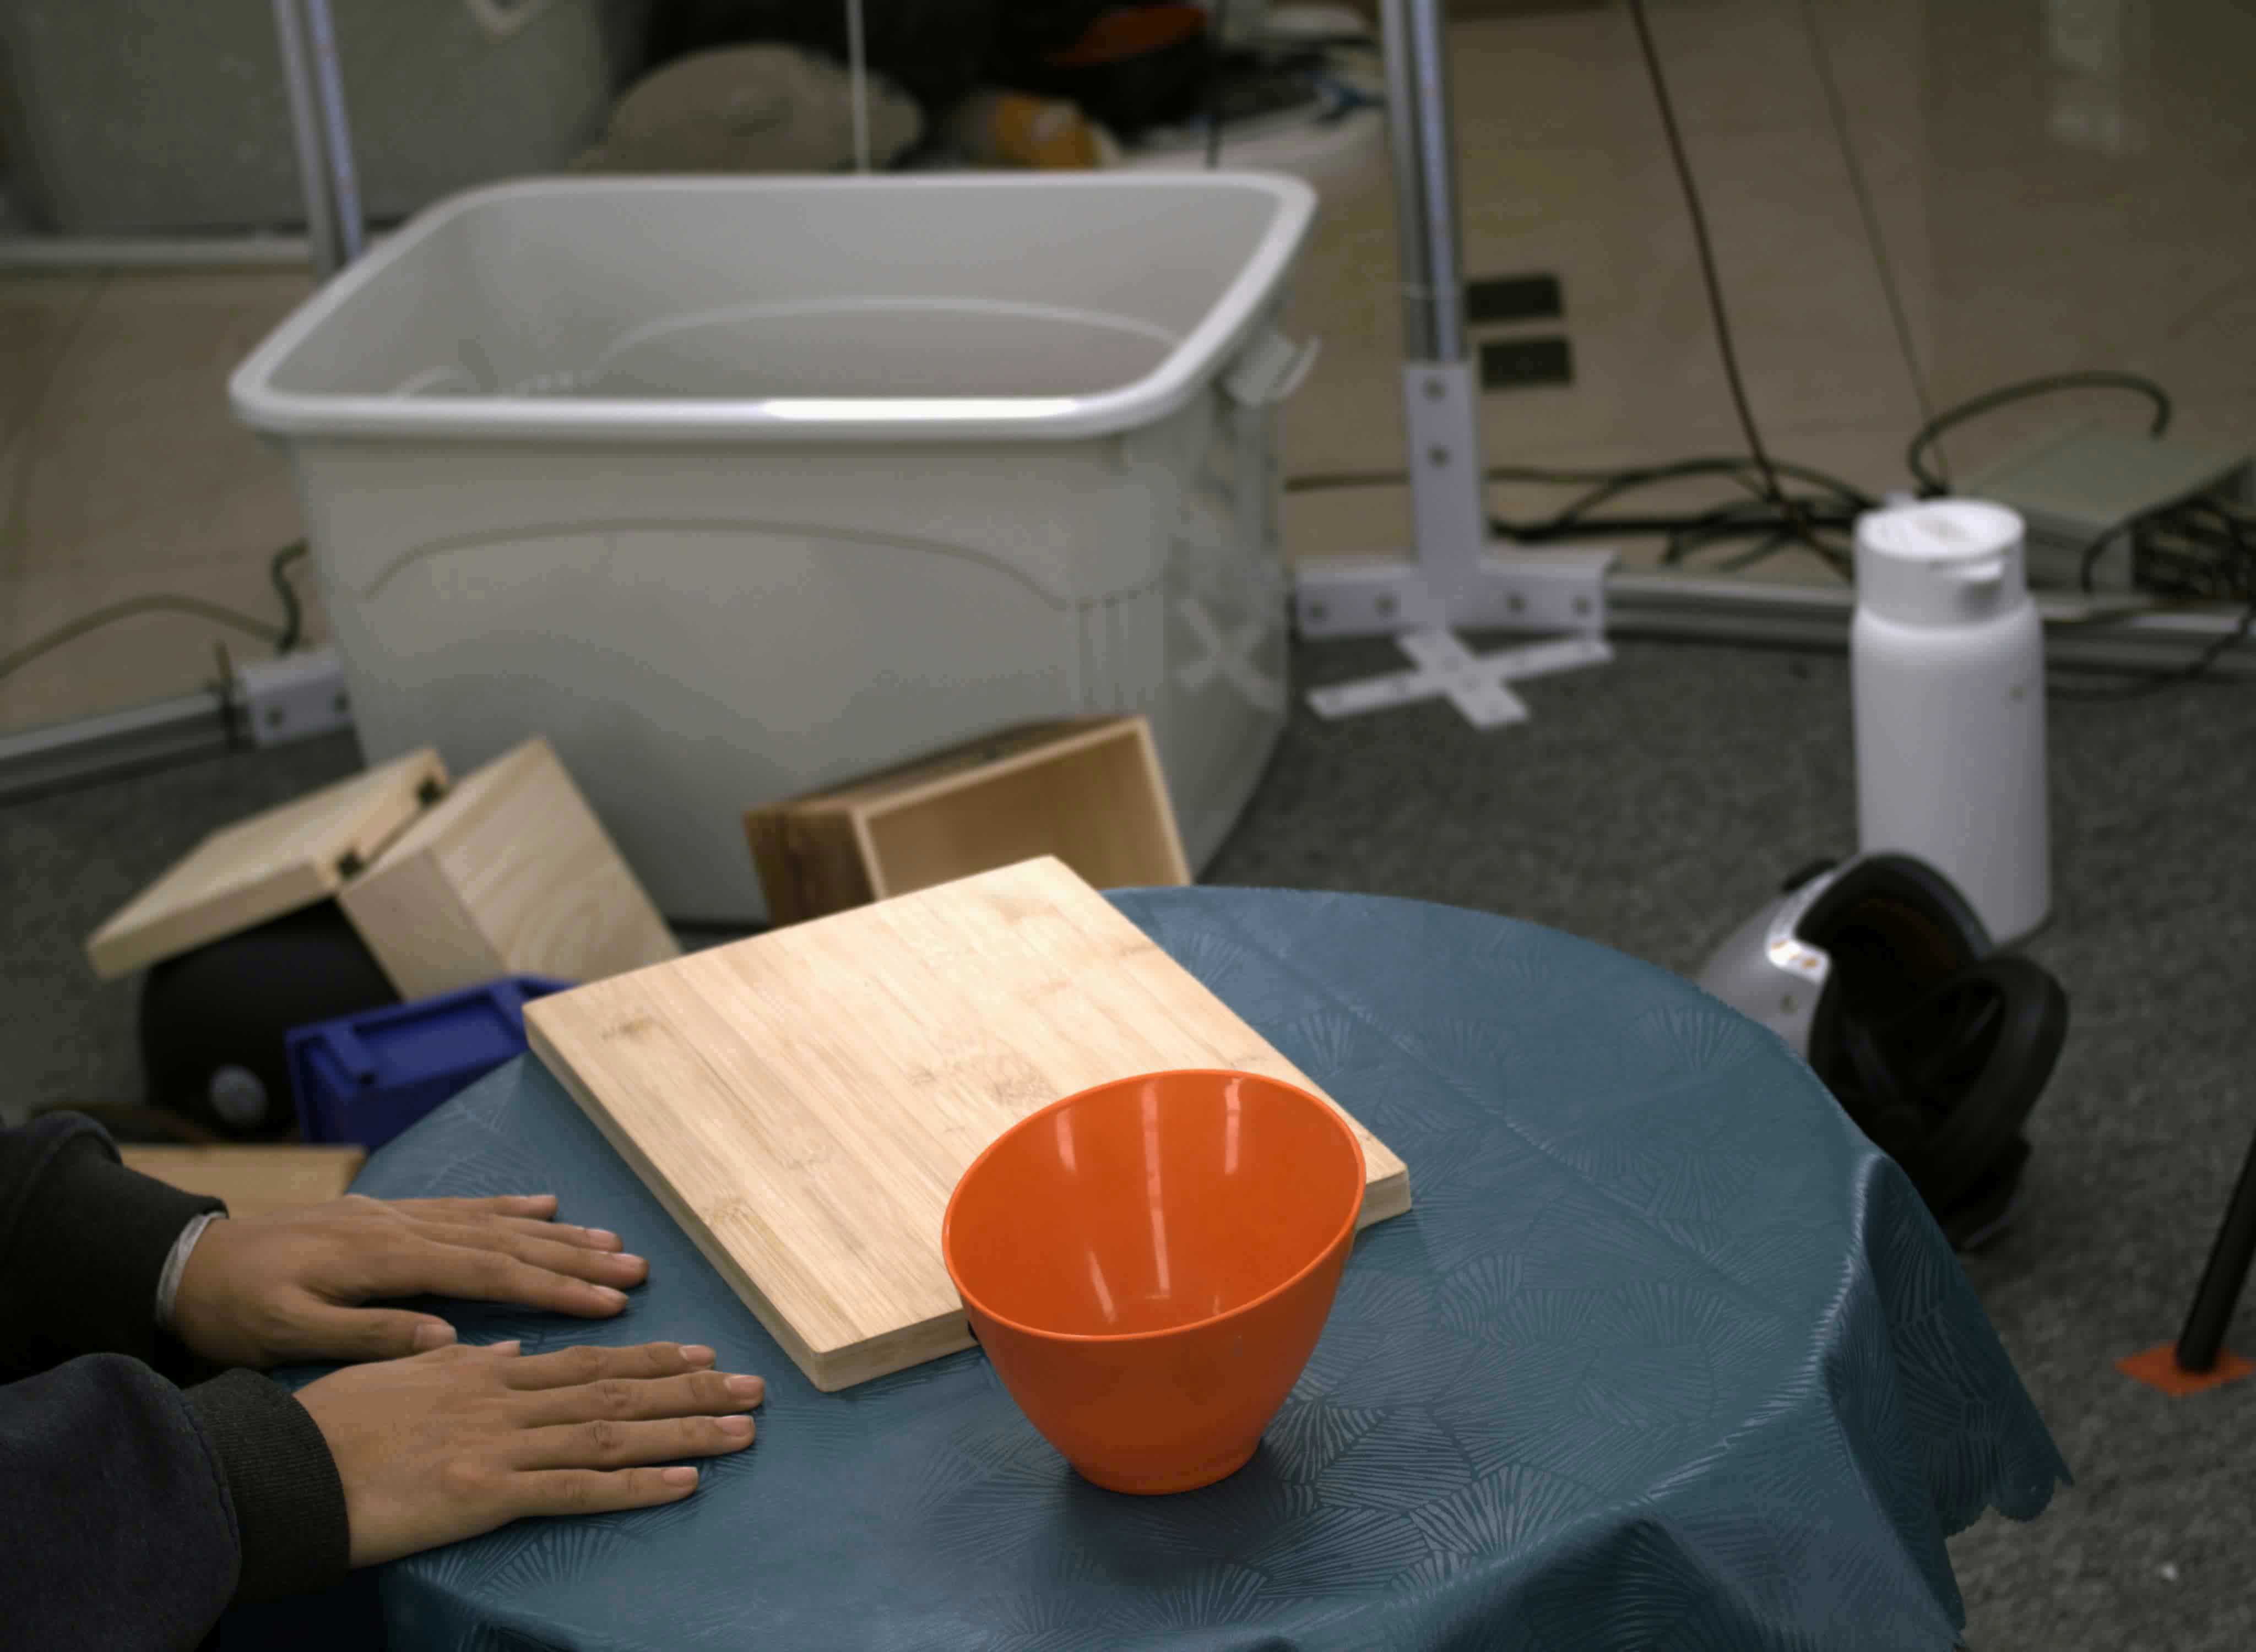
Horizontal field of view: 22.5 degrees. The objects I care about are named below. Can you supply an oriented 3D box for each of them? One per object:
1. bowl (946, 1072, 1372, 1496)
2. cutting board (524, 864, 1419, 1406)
[{"bbox_3d":[0.013,0.165,1.964,0.148,0.106,0.146,-4,26,2],"label":"bowl"},{"bbox_3d":[-0.069,0.111,2.205,0.249,0.024,0.344,-17,26,-20],"label":"cutting board"}]
